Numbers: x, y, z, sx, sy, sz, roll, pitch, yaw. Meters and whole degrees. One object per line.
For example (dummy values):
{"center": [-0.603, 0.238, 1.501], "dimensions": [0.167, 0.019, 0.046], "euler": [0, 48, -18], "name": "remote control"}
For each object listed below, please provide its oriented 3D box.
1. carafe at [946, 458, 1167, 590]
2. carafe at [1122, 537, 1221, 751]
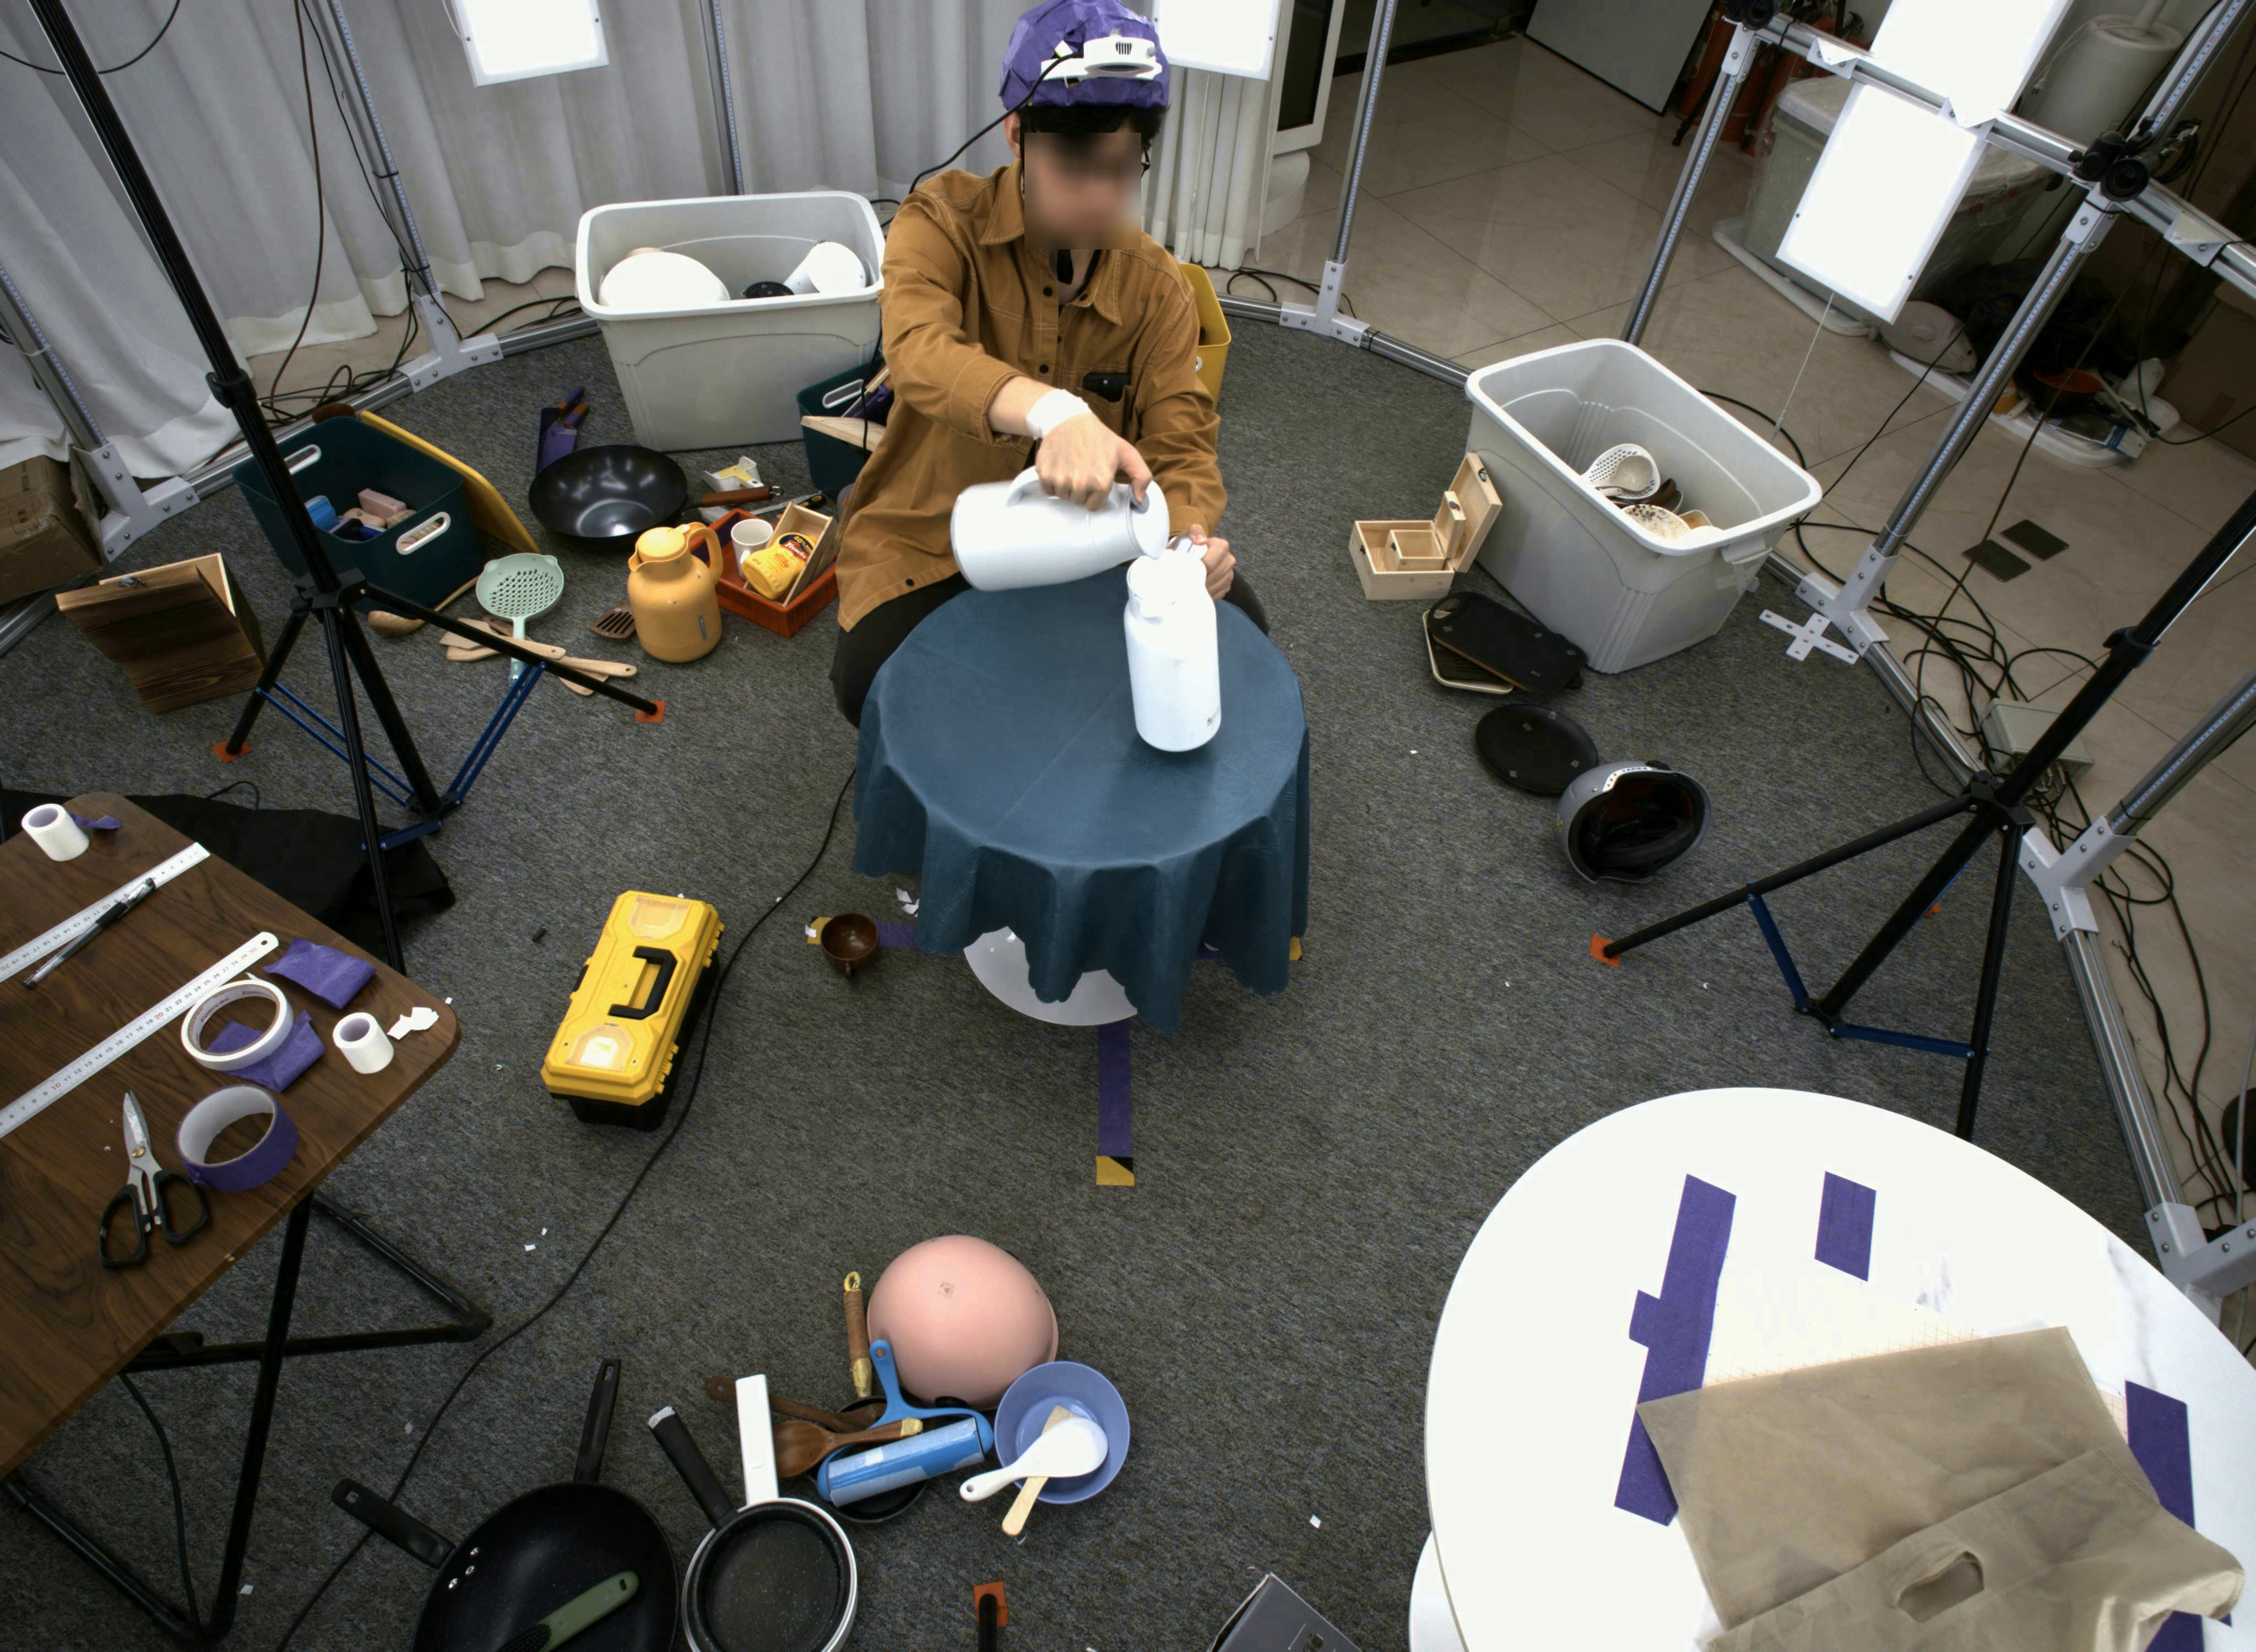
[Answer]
{"center": [-0.086, -0.364, 1.521], "dimensions": [0.249, 0.164, 0.135], "euler": [1, 62, 29], "name": "carafe"}
{"center": [0.062, -0.238, 1.669], "dimensions": [0.124, 0.262, 0.176], "euler": [13, 52, 20], "name": "carafe"}
